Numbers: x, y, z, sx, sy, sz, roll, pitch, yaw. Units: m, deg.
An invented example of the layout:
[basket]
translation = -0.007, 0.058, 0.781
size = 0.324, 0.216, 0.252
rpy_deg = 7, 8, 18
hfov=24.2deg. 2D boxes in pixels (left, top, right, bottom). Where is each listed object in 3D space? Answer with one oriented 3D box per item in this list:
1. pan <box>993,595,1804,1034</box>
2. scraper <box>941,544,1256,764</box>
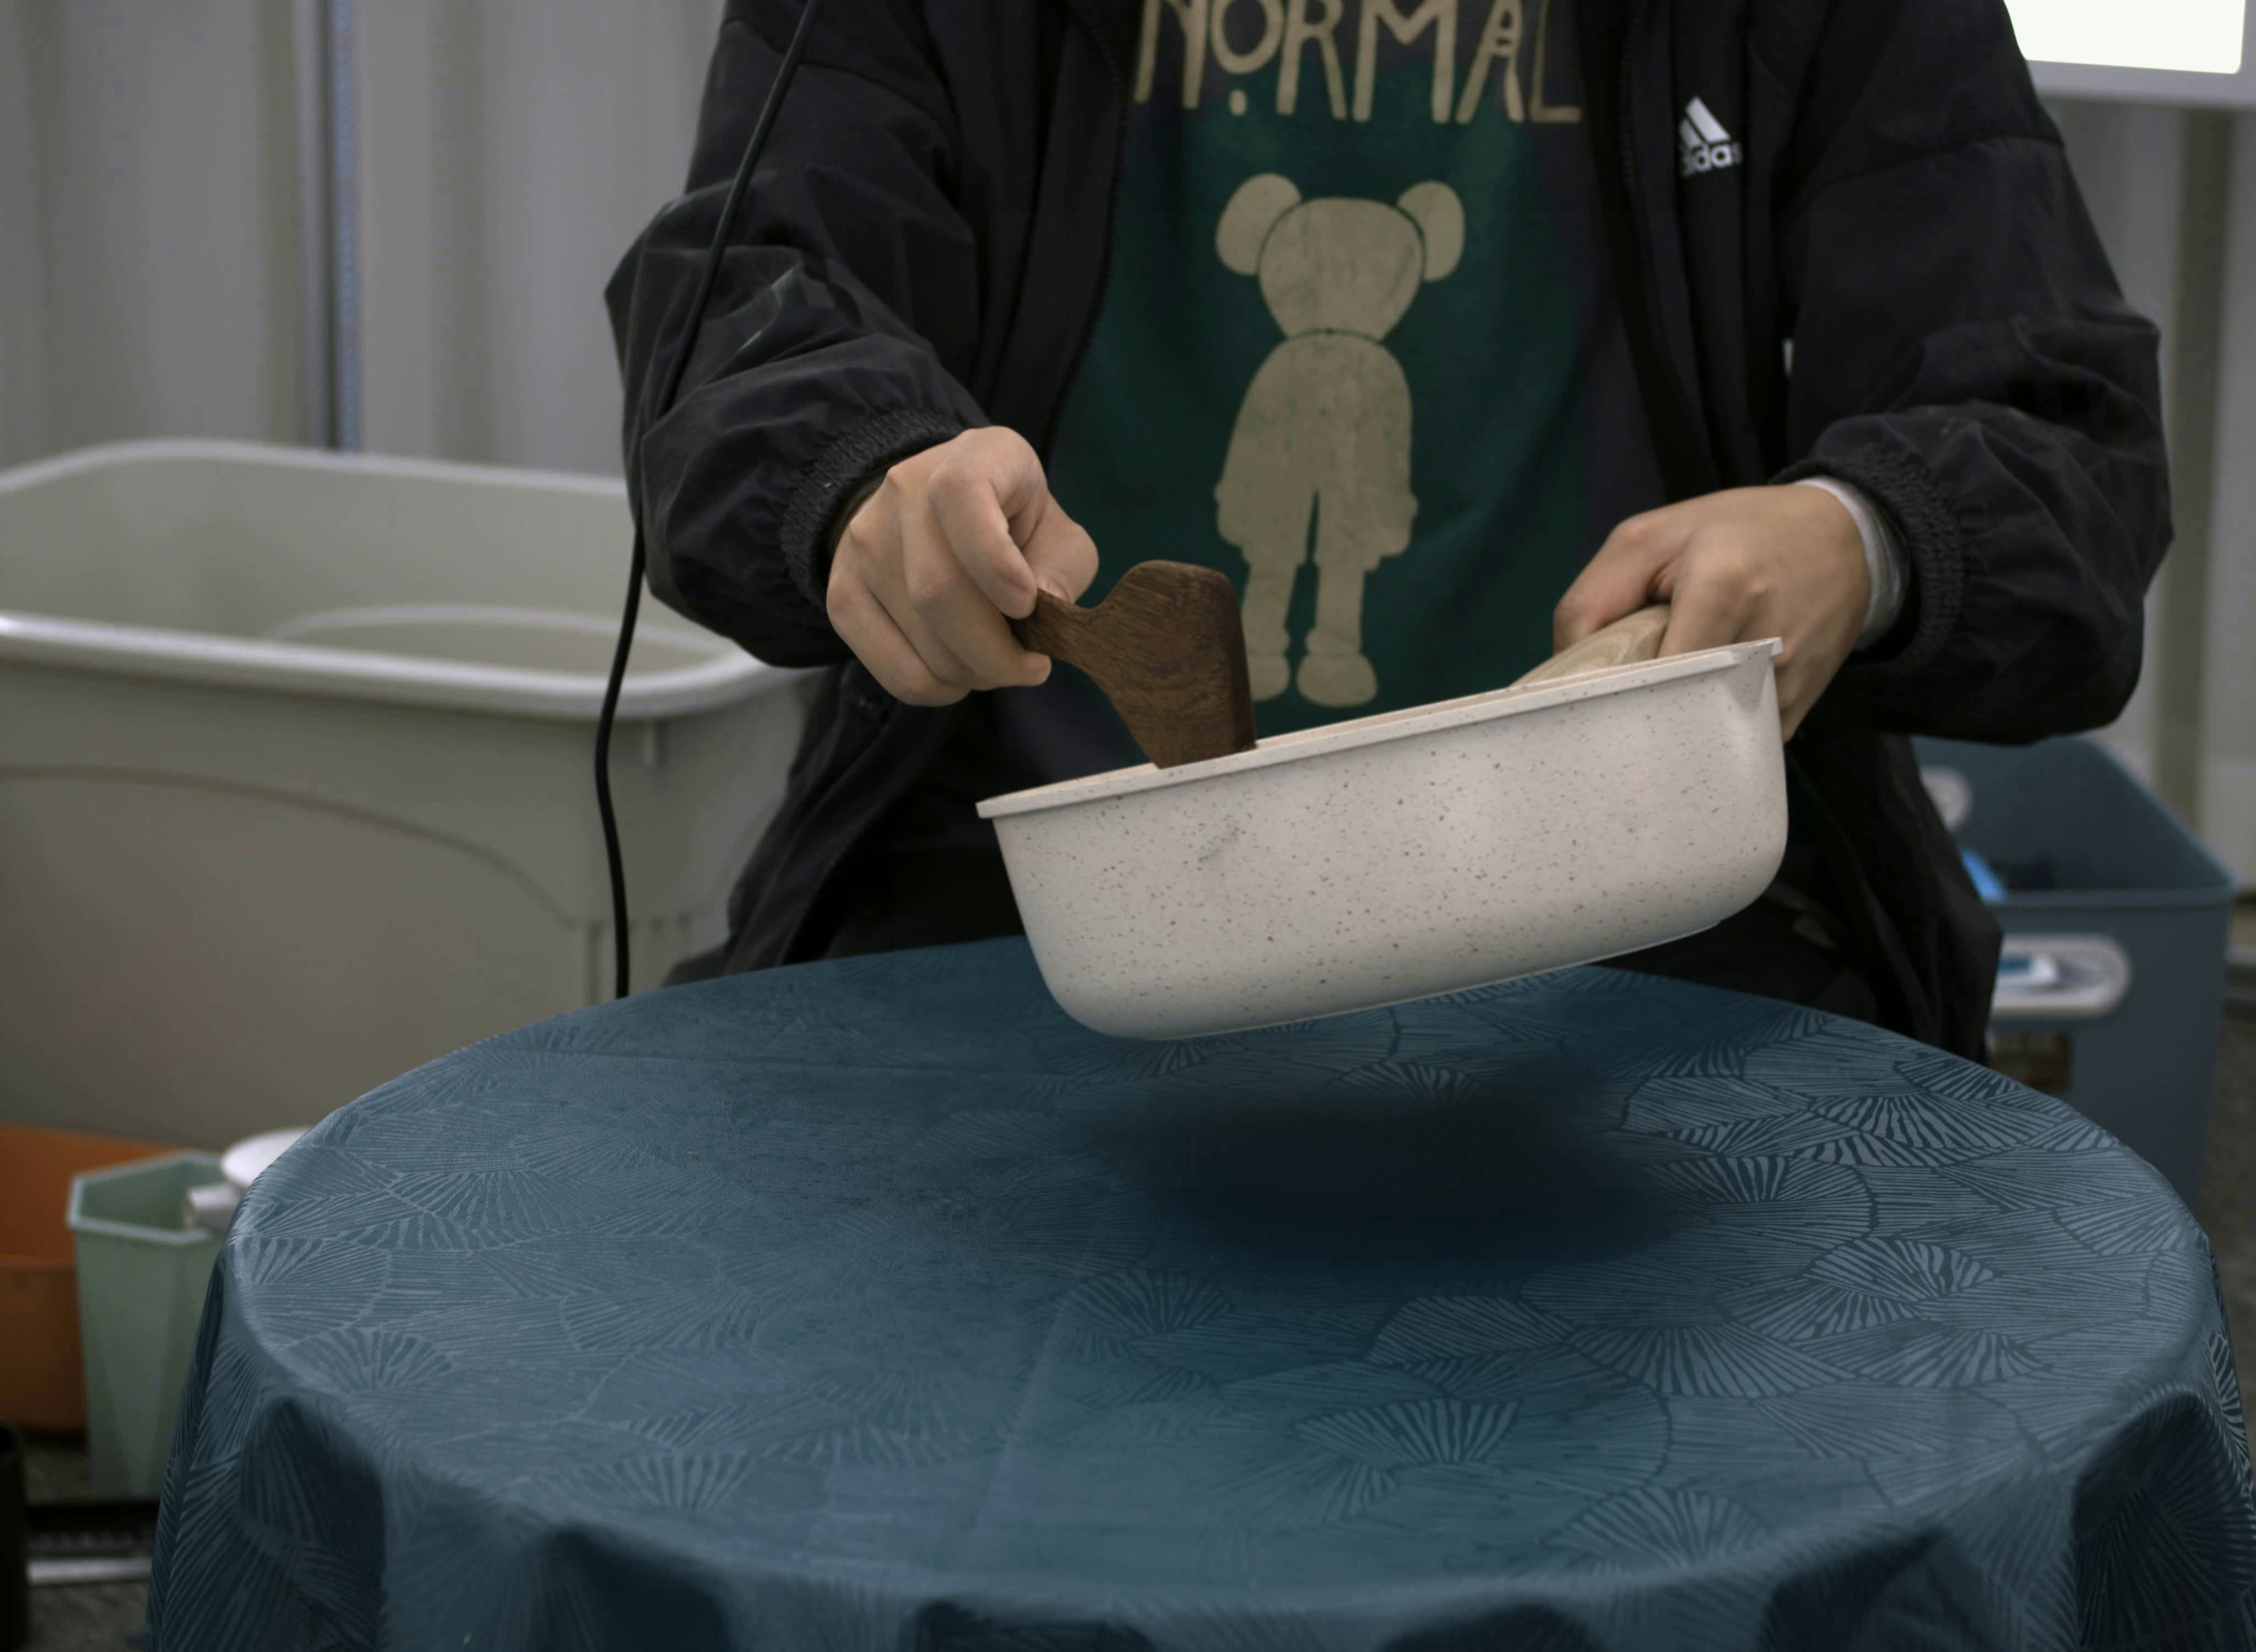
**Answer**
[pan]
translation = 0.128, -0.012, 1.691
size = 0.261, 0.102, 0.437
rpy_deg = -12, 0, 27
[scraper]
translation = -0.013, -0.058, 1.608
size = 0.011, 0.076, 0.209
rpy_deg = -15, 17, -23
